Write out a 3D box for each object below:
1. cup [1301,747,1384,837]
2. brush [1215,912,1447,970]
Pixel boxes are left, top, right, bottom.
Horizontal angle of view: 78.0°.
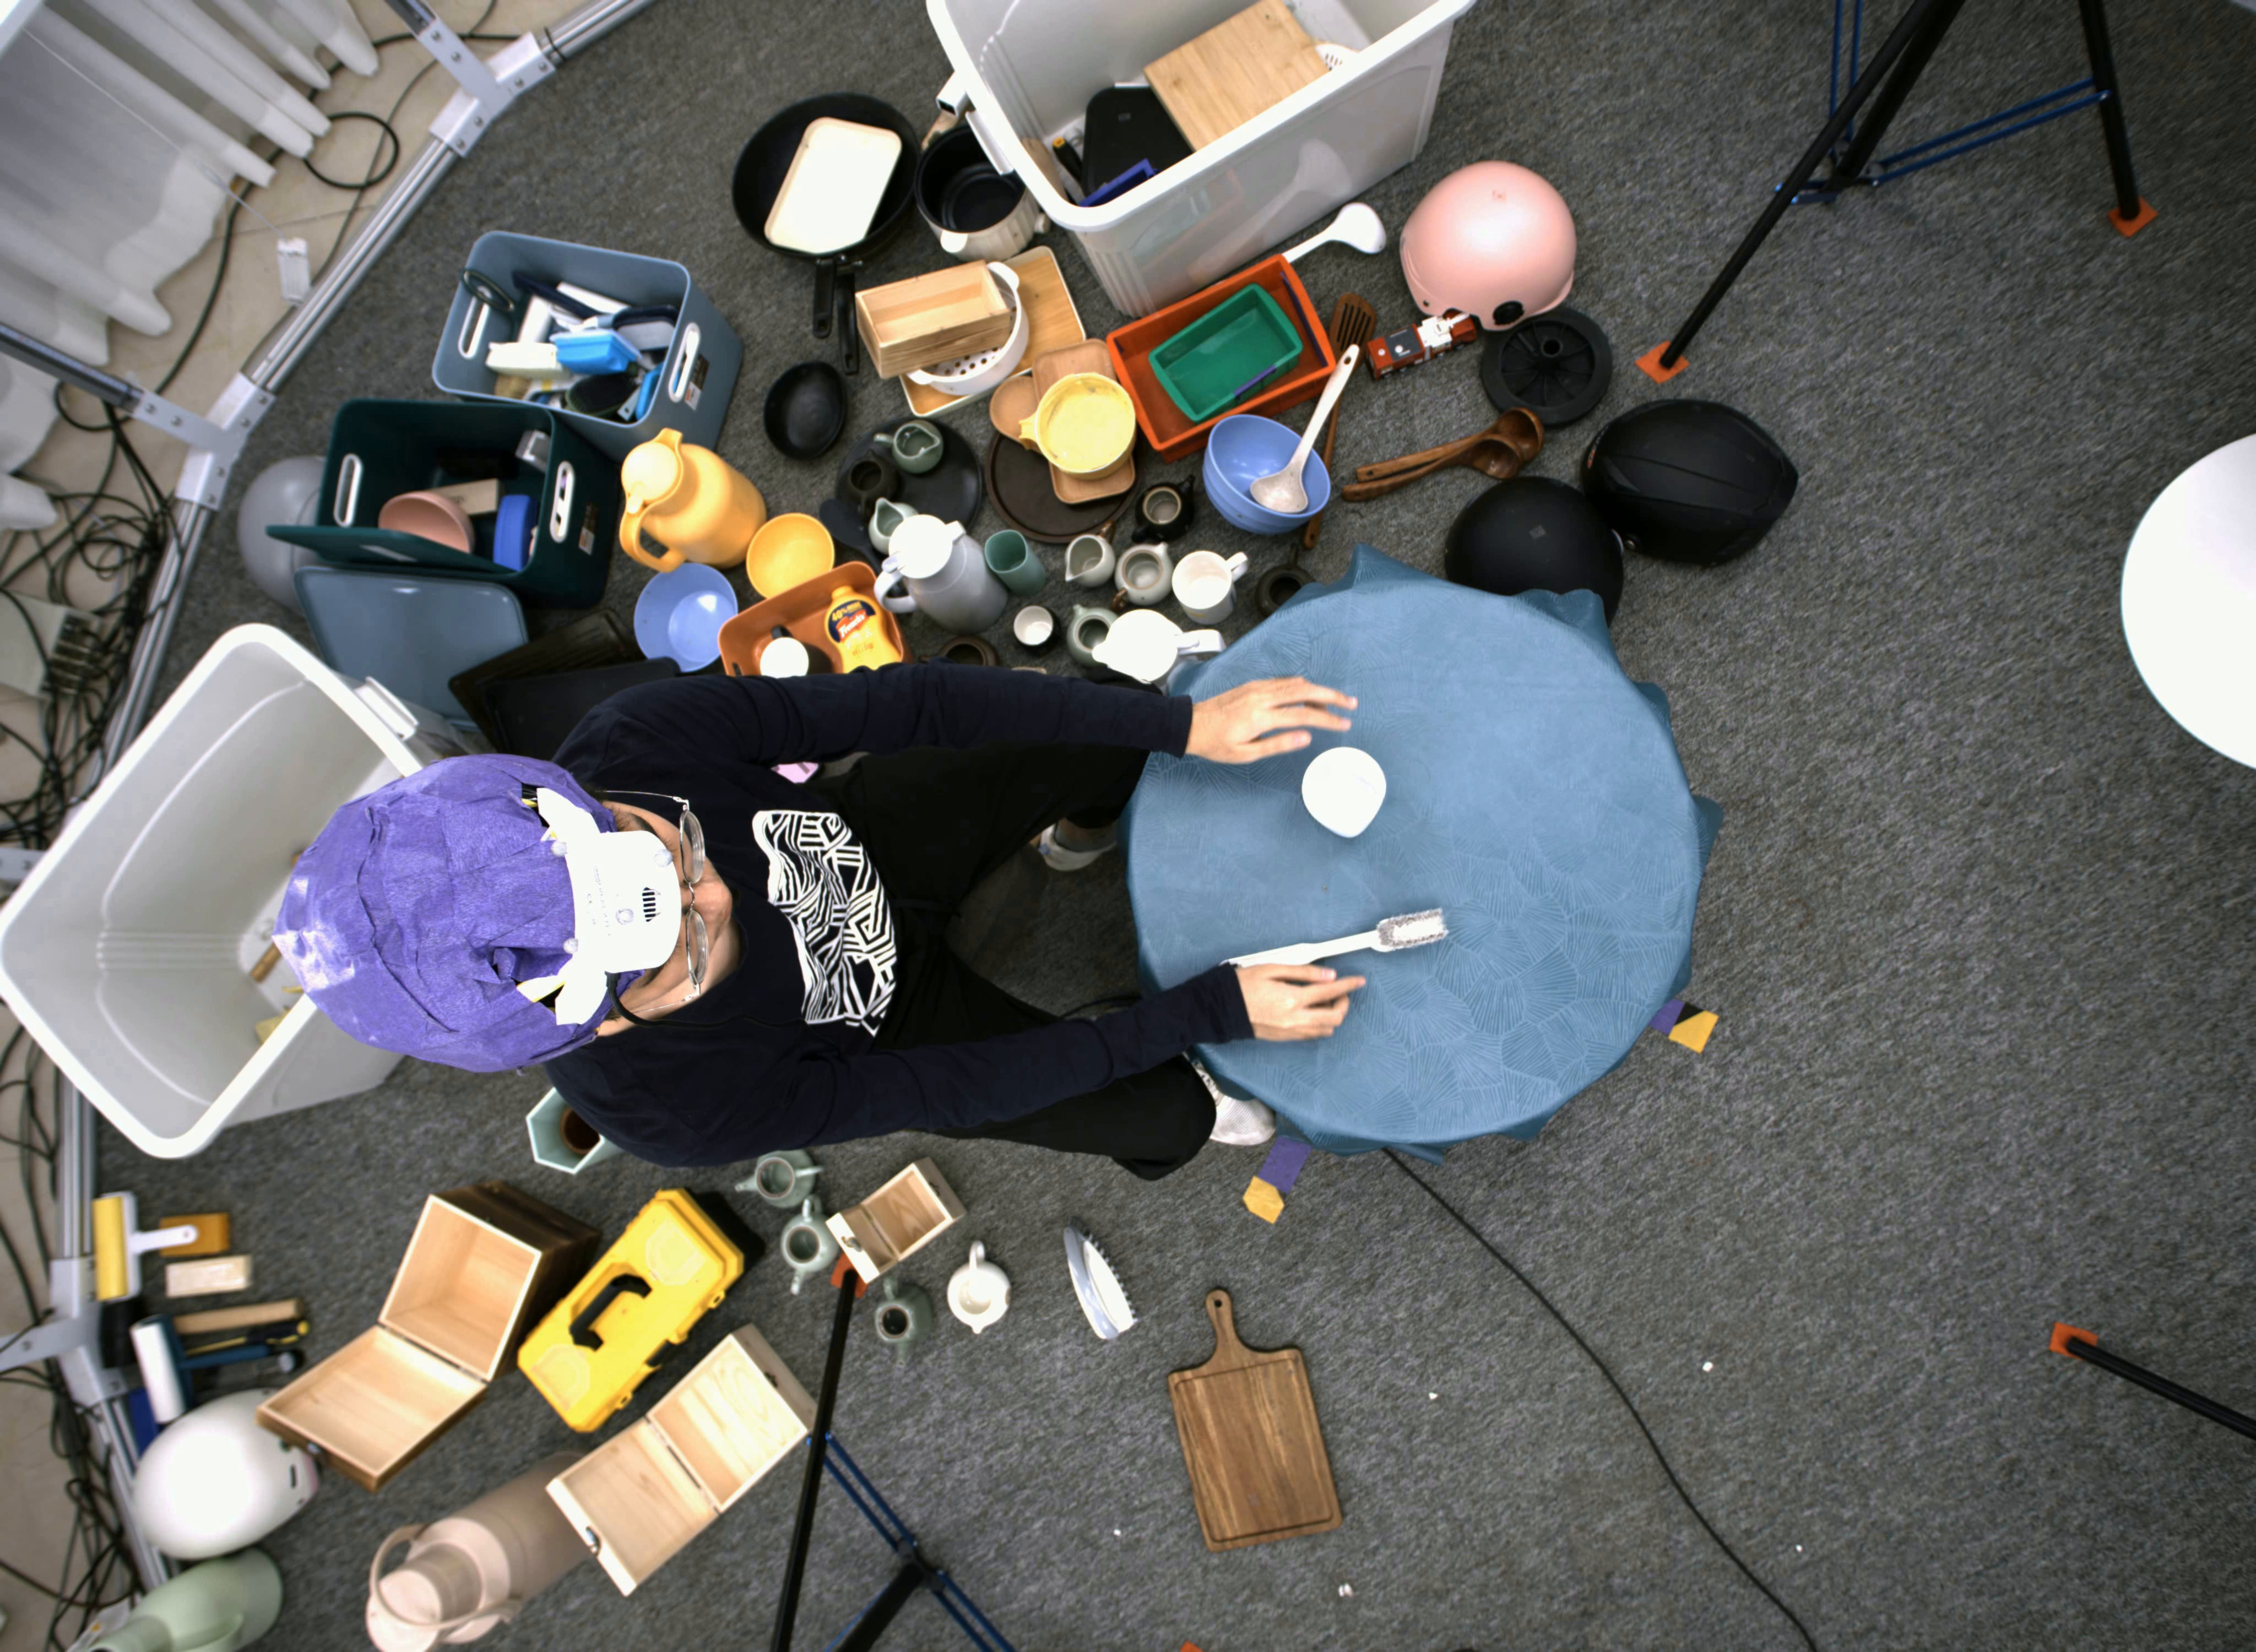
[{"bbox_3d":[0.221,-0.033,1.411,0.082,0.125,0.081,-1,85,11],"label":"cup"},{"bbox_3d":[0.208,0.123,1.443,0.245,0.050,0.034,-10,89,9],"label":"brush"}]
